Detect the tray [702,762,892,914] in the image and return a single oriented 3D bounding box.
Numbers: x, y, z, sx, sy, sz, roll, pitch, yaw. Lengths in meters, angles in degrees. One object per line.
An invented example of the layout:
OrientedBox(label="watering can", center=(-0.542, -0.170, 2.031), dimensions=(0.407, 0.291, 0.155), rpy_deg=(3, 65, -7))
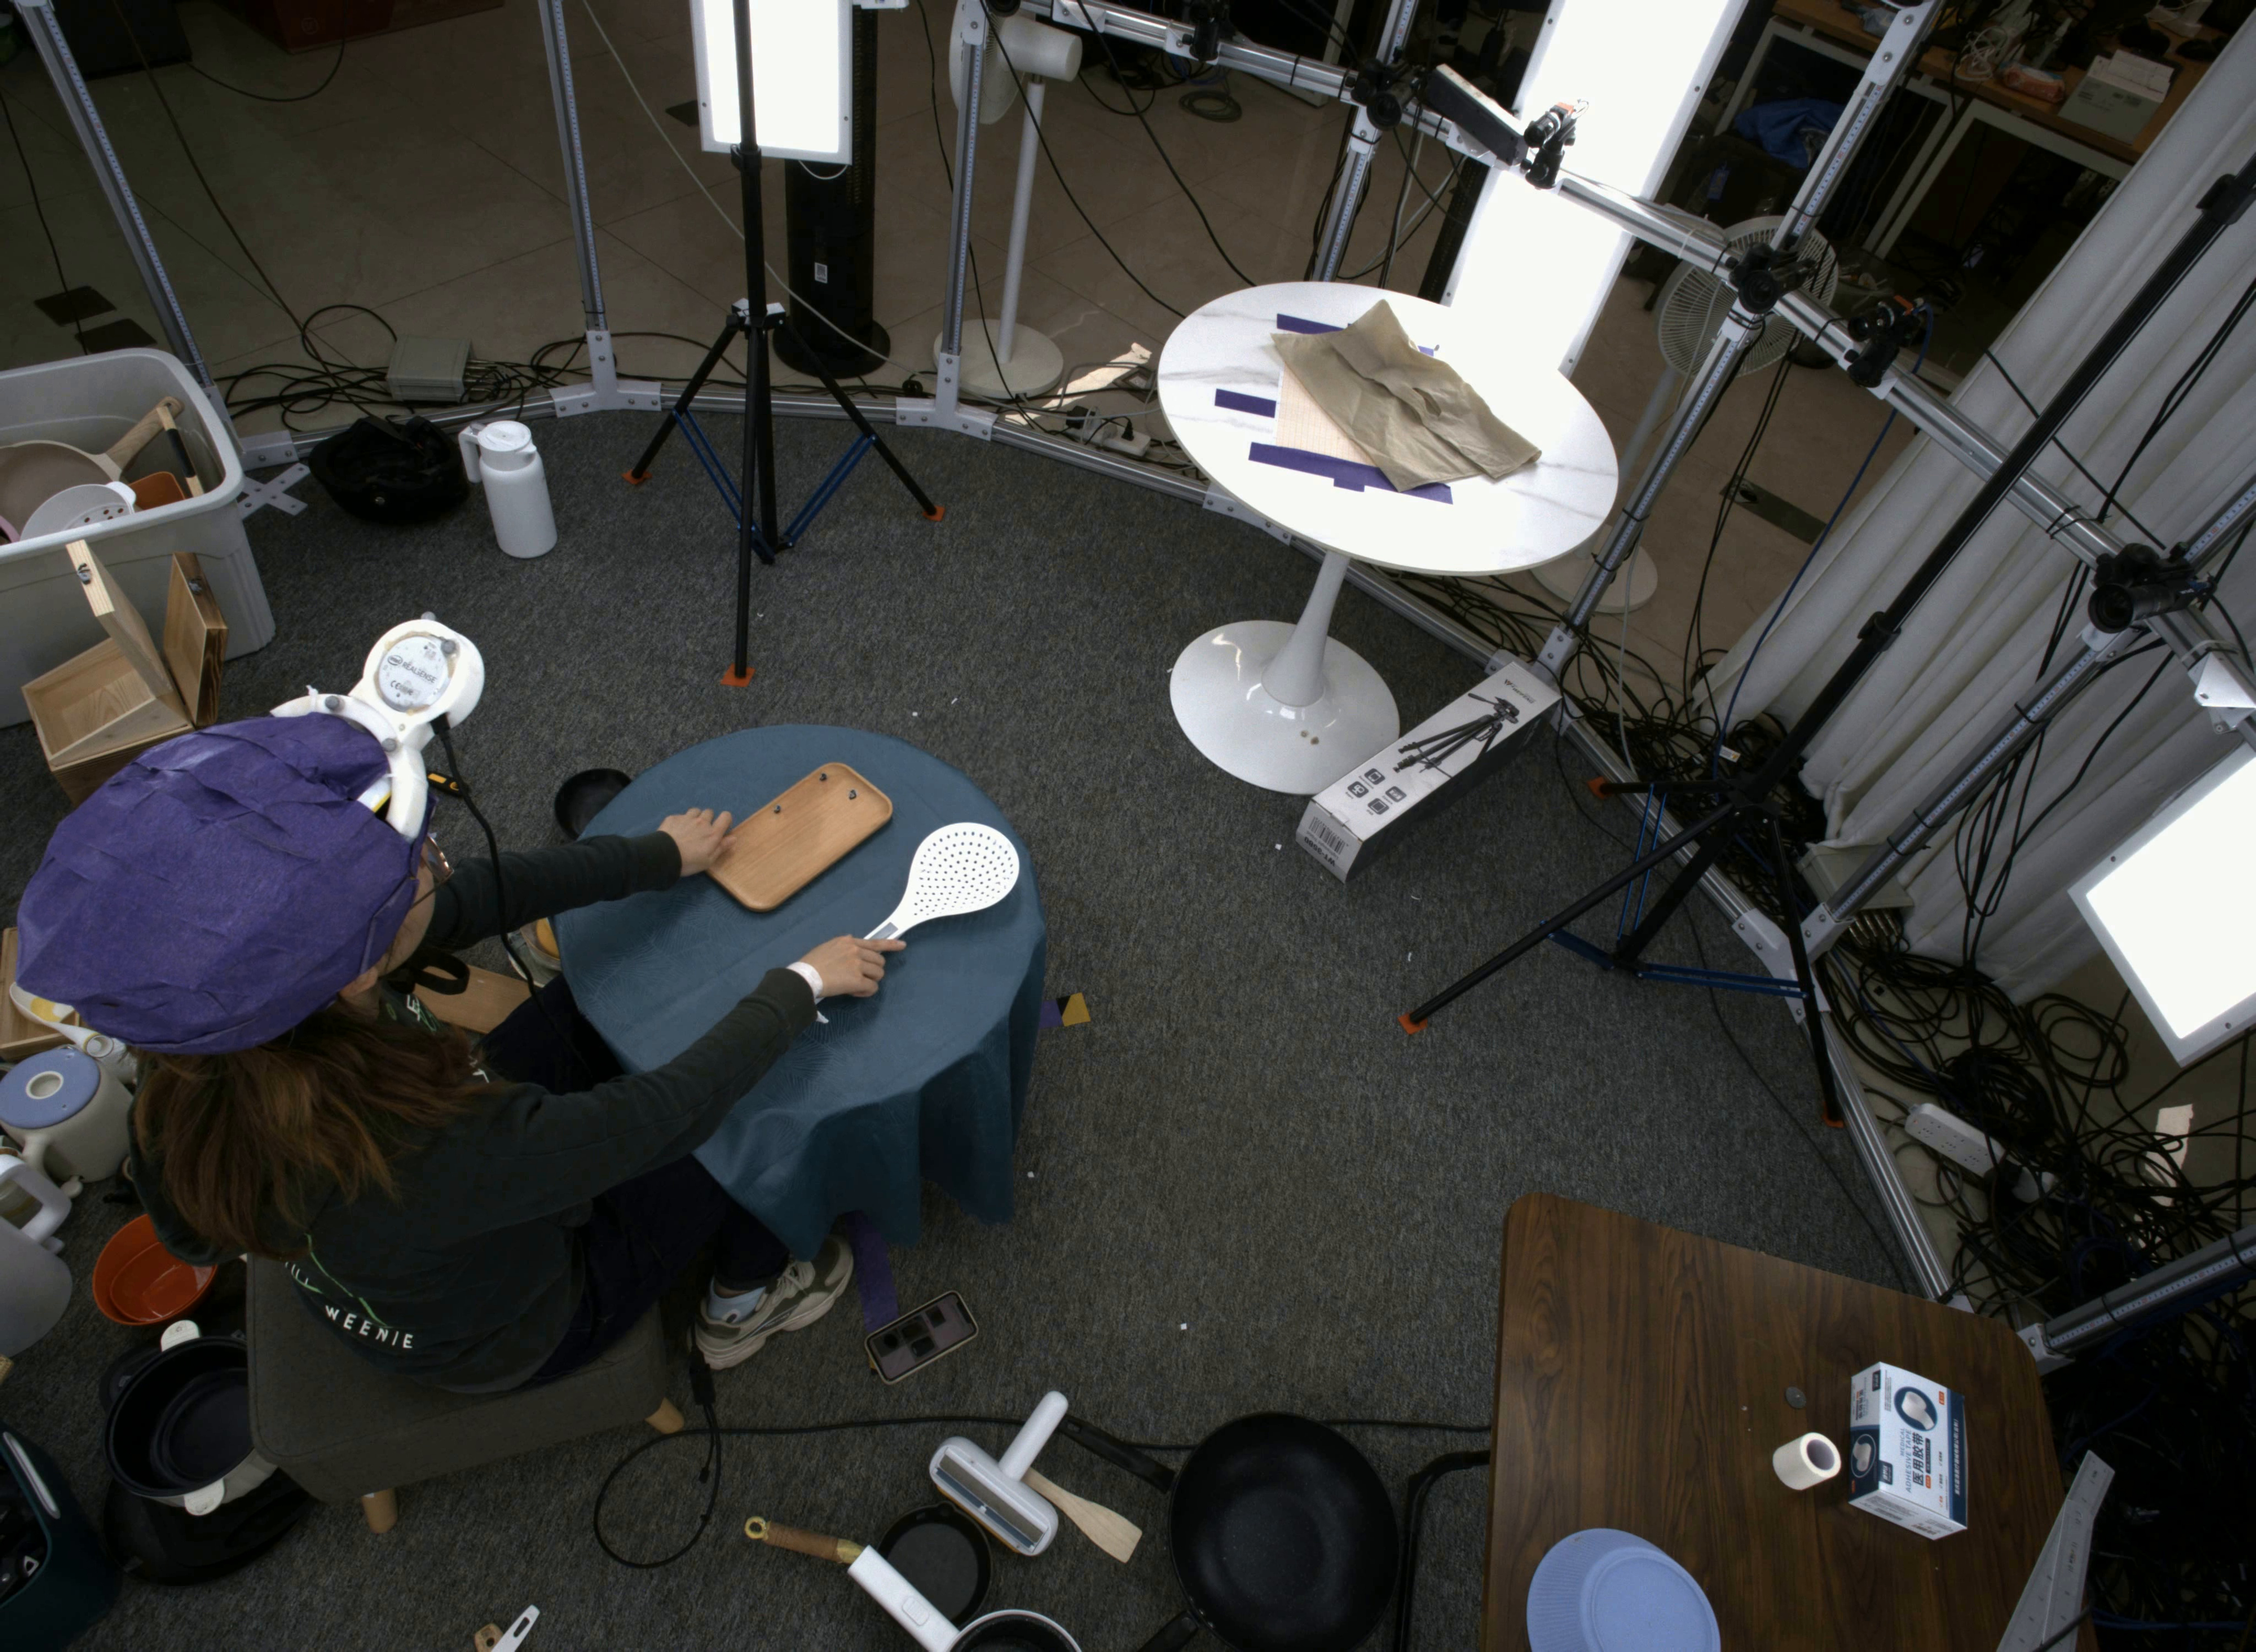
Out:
OrientedBox(label="tray", center=(-0.433, 0.012, 1.707), dimensions=(0.127, 0.023, 0.251), rpy_deg=(37, 55, 16))

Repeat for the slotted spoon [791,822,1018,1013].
OrientedBox(label="slotted spoon", center=(-0.283, 0.116, 1.650), dimensions=(0.133, 0.047, 0.350), rpy_deg=(38, 55, 19))
